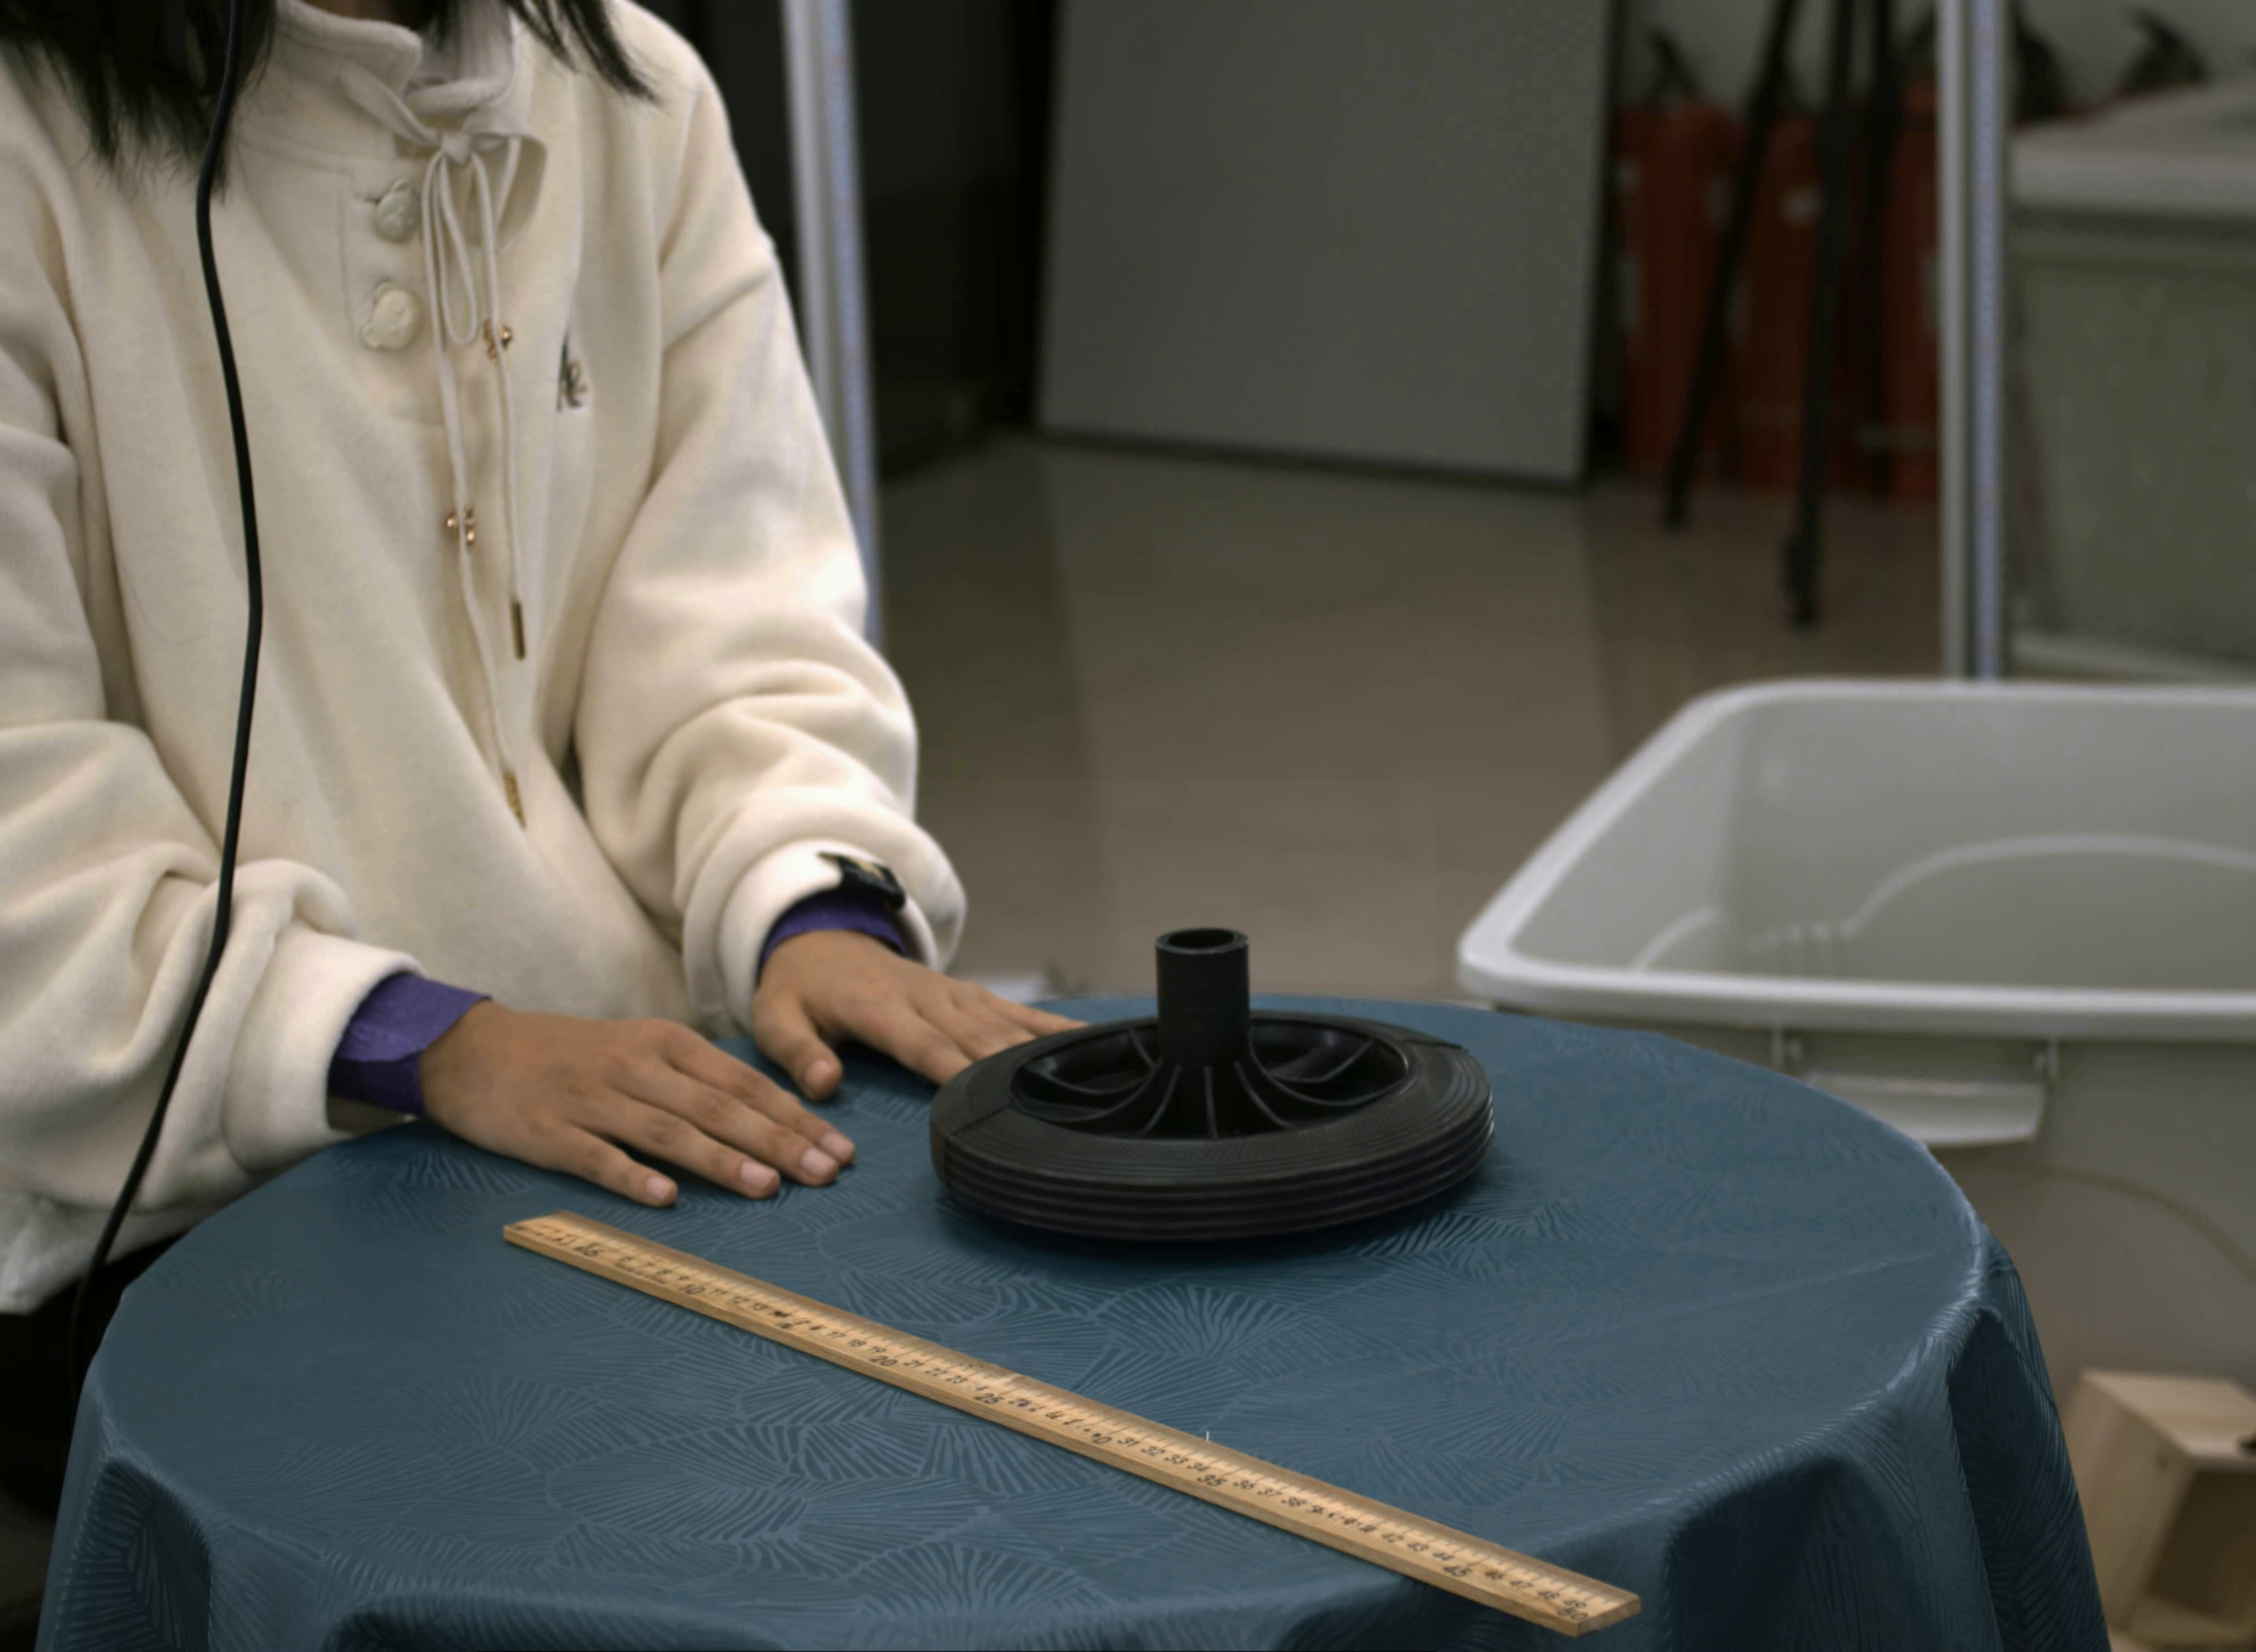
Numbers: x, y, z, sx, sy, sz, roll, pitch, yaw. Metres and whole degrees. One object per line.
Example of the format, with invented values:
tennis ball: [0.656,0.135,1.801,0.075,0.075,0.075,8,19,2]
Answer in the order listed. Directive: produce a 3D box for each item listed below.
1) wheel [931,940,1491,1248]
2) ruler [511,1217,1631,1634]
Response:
wheel: [0.026,0.080,1.771,0.187,0.080,0.188,0,14,16]
ruler: [-0.036,0.168,1.579,0.026,0.006,0.505,-16,18,-36]
